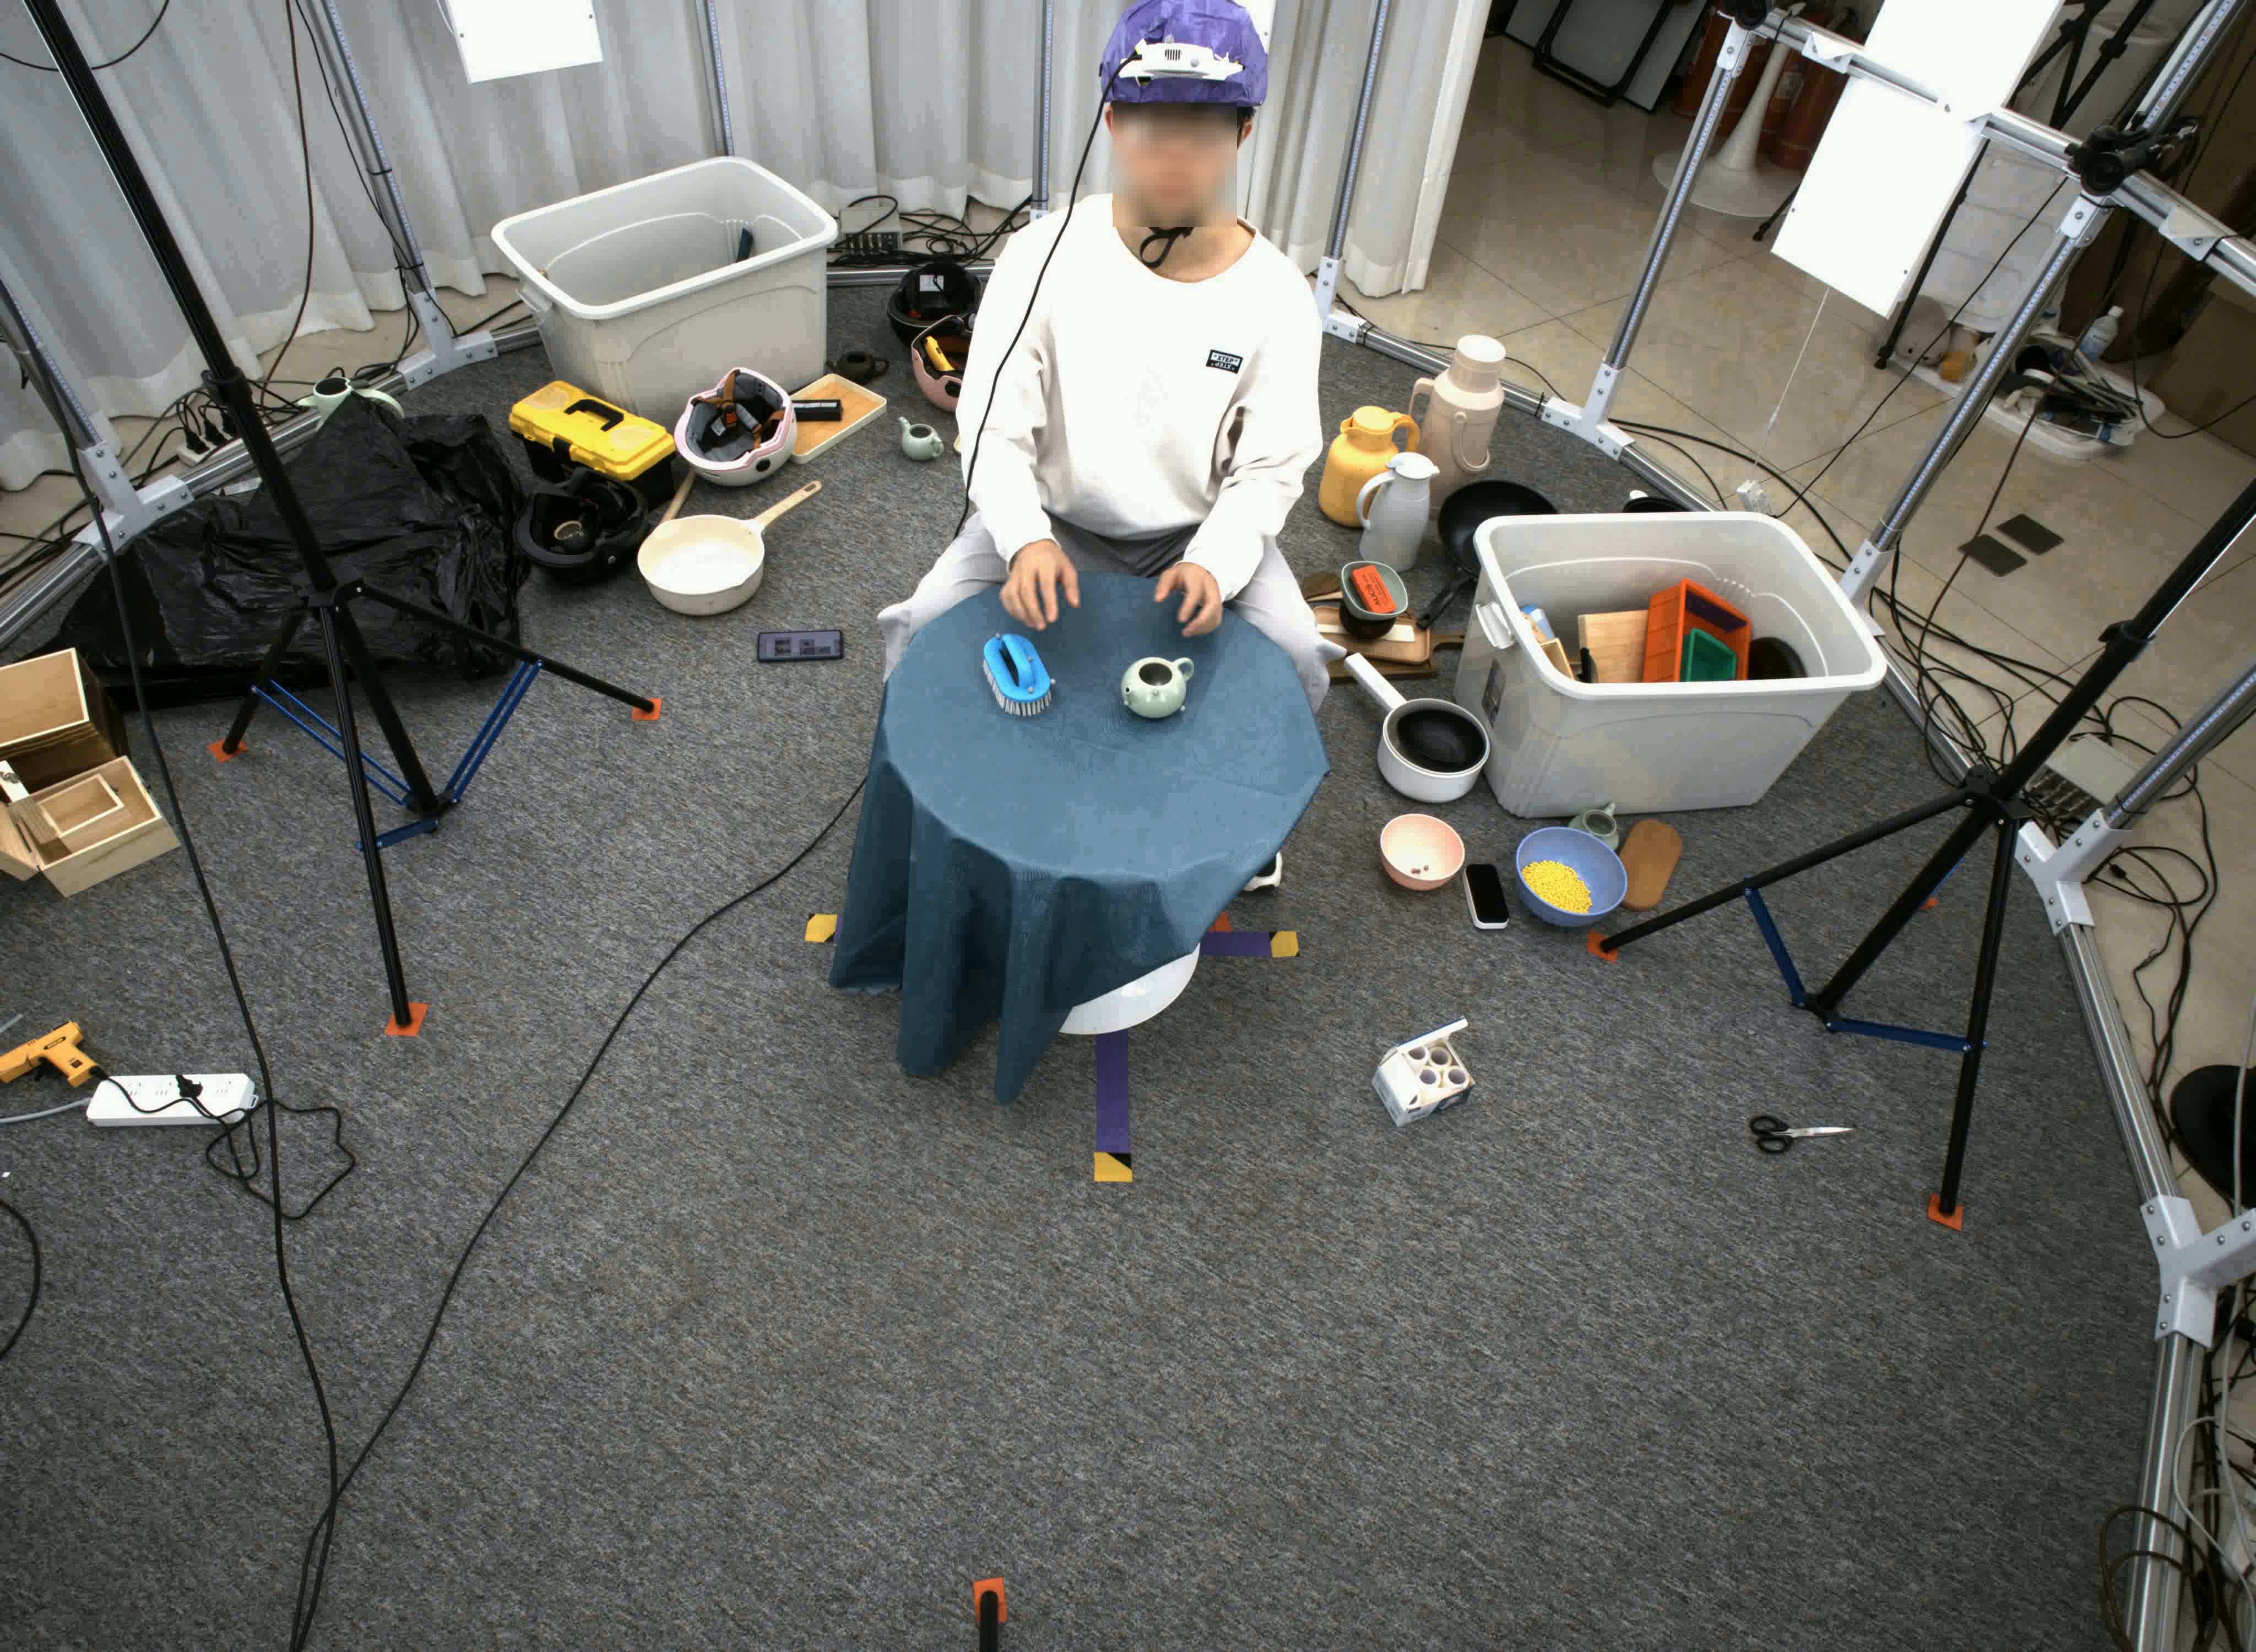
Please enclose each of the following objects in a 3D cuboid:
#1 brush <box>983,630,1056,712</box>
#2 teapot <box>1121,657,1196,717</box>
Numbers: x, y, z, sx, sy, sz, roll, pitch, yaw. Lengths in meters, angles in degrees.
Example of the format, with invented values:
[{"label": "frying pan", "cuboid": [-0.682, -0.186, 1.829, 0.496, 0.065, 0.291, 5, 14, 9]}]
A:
[{"label": "brush", "cuboid": [-0.155, -0.228, 1.809, 0.084, 0.062, 0.145, -16, 52, -11]}, {"label": "teapot", "cuboid": [0.044, -0.199, 1.802, 0.129, 0.059, 0.093, -26, 53, -26]}]
